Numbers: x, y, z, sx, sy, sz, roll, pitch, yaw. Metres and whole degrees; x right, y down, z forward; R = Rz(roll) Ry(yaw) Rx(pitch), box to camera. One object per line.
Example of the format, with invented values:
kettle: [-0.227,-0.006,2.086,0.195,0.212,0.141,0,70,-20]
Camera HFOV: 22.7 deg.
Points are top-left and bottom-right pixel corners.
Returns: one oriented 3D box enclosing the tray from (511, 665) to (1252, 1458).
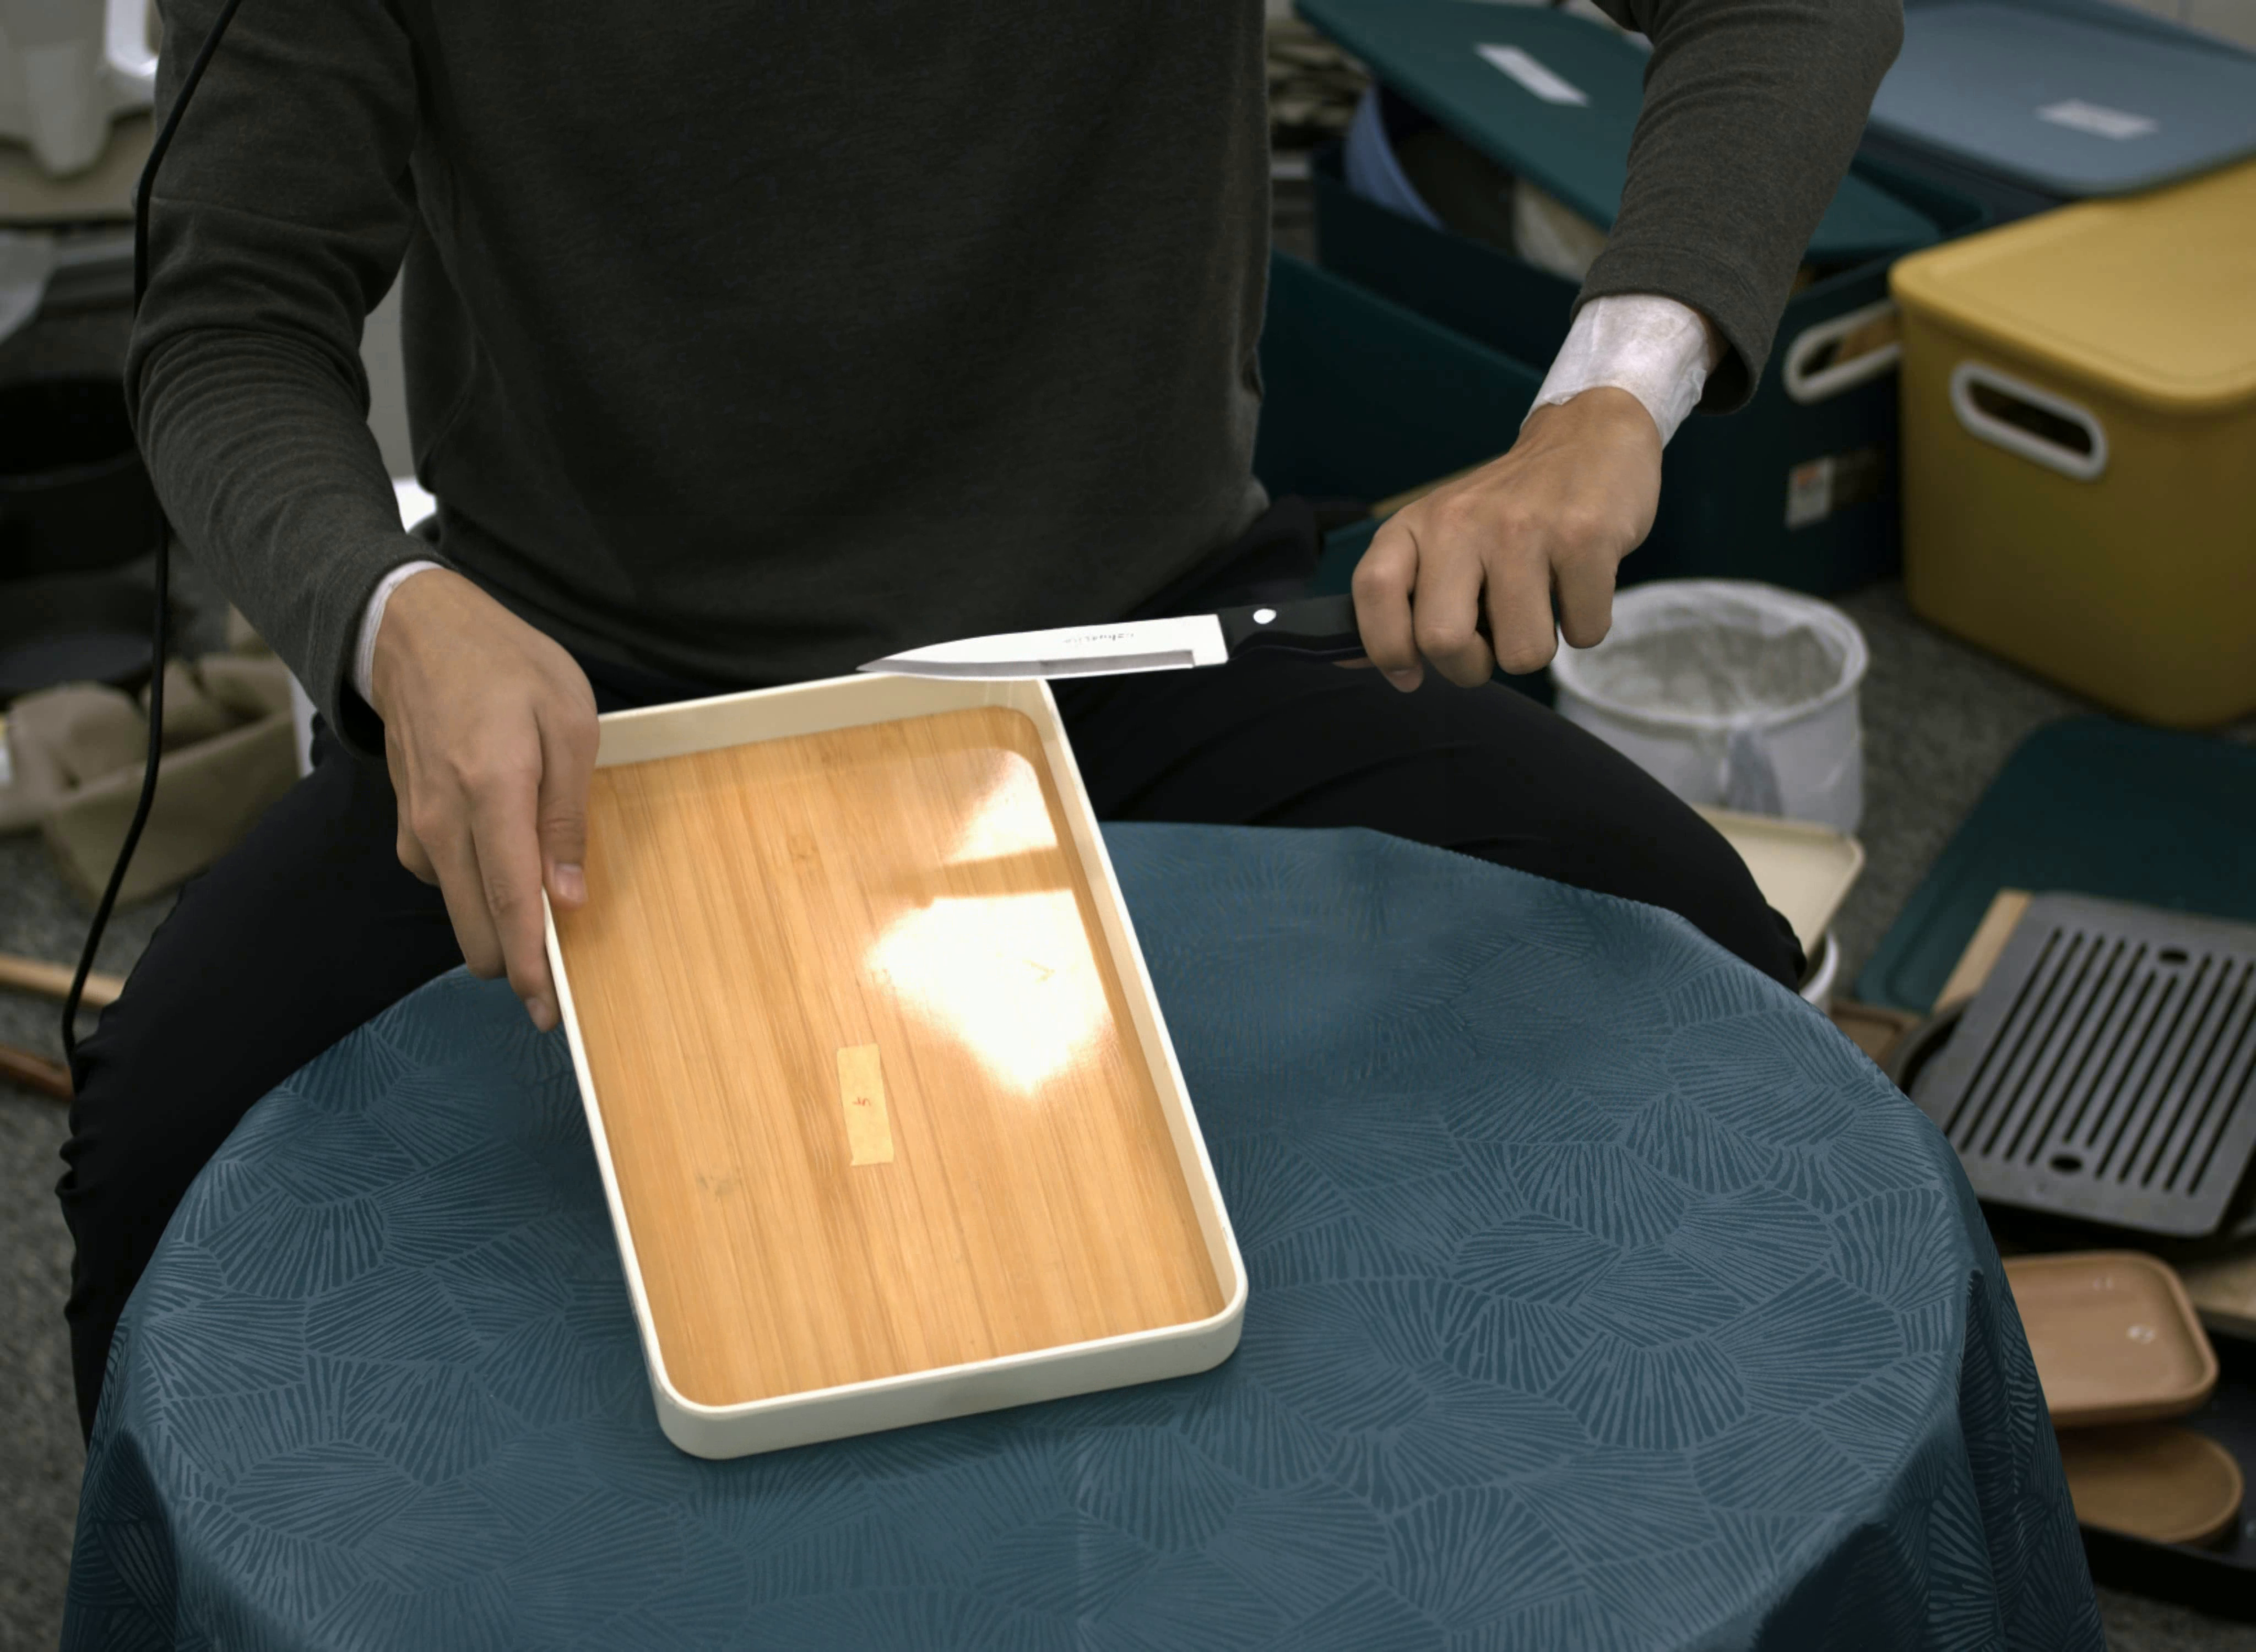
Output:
tray: [-0.085,0.070,1.836,0.191,0.027,0.305,-8,47,-12]

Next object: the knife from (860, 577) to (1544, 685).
knife: [0.025,-0.065,1.910,0.238,0.016,0.025,-6,51,-11]
